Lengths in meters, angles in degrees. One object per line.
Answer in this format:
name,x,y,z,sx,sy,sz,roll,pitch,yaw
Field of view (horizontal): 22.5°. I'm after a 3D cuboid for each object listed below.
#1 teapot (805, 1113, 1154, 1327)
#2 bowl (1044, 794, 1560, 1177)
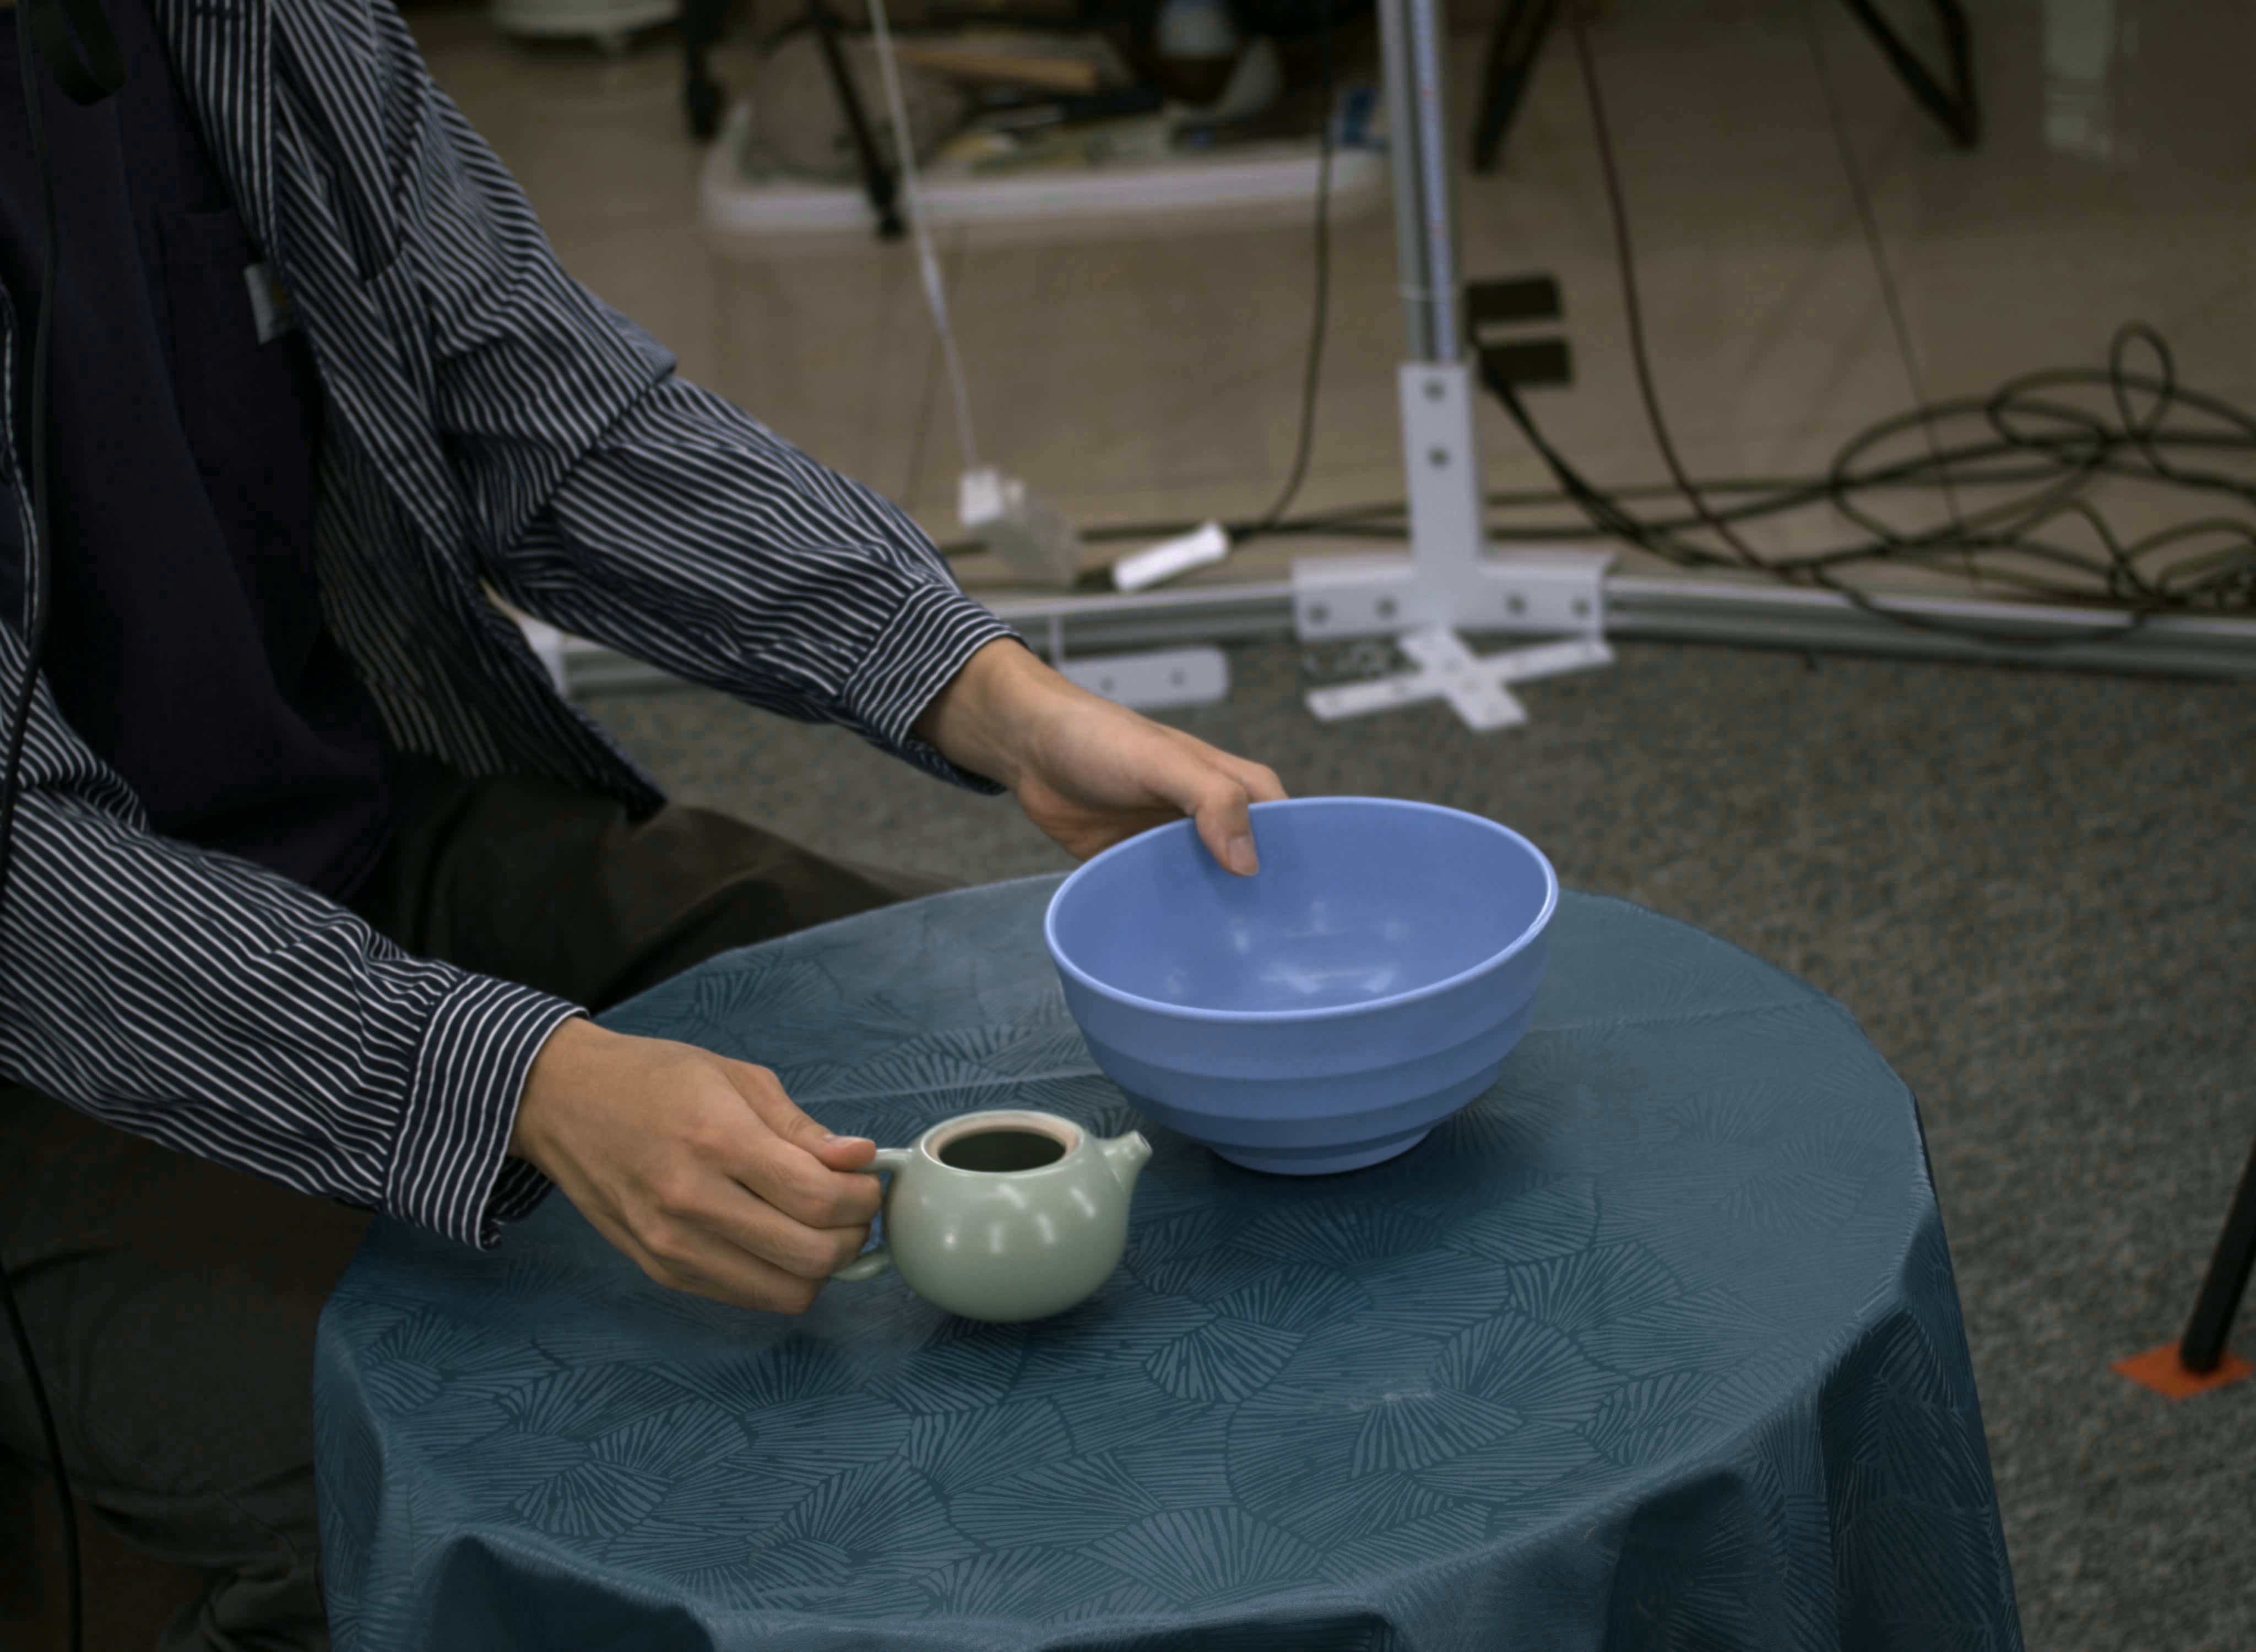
teapot,-0.054,0.144,2.065,0.128,0.062,0.090,-2,22,0
bowl,0.070,0.071,2.163,0.196,0.097,0.193,-5,25,2
